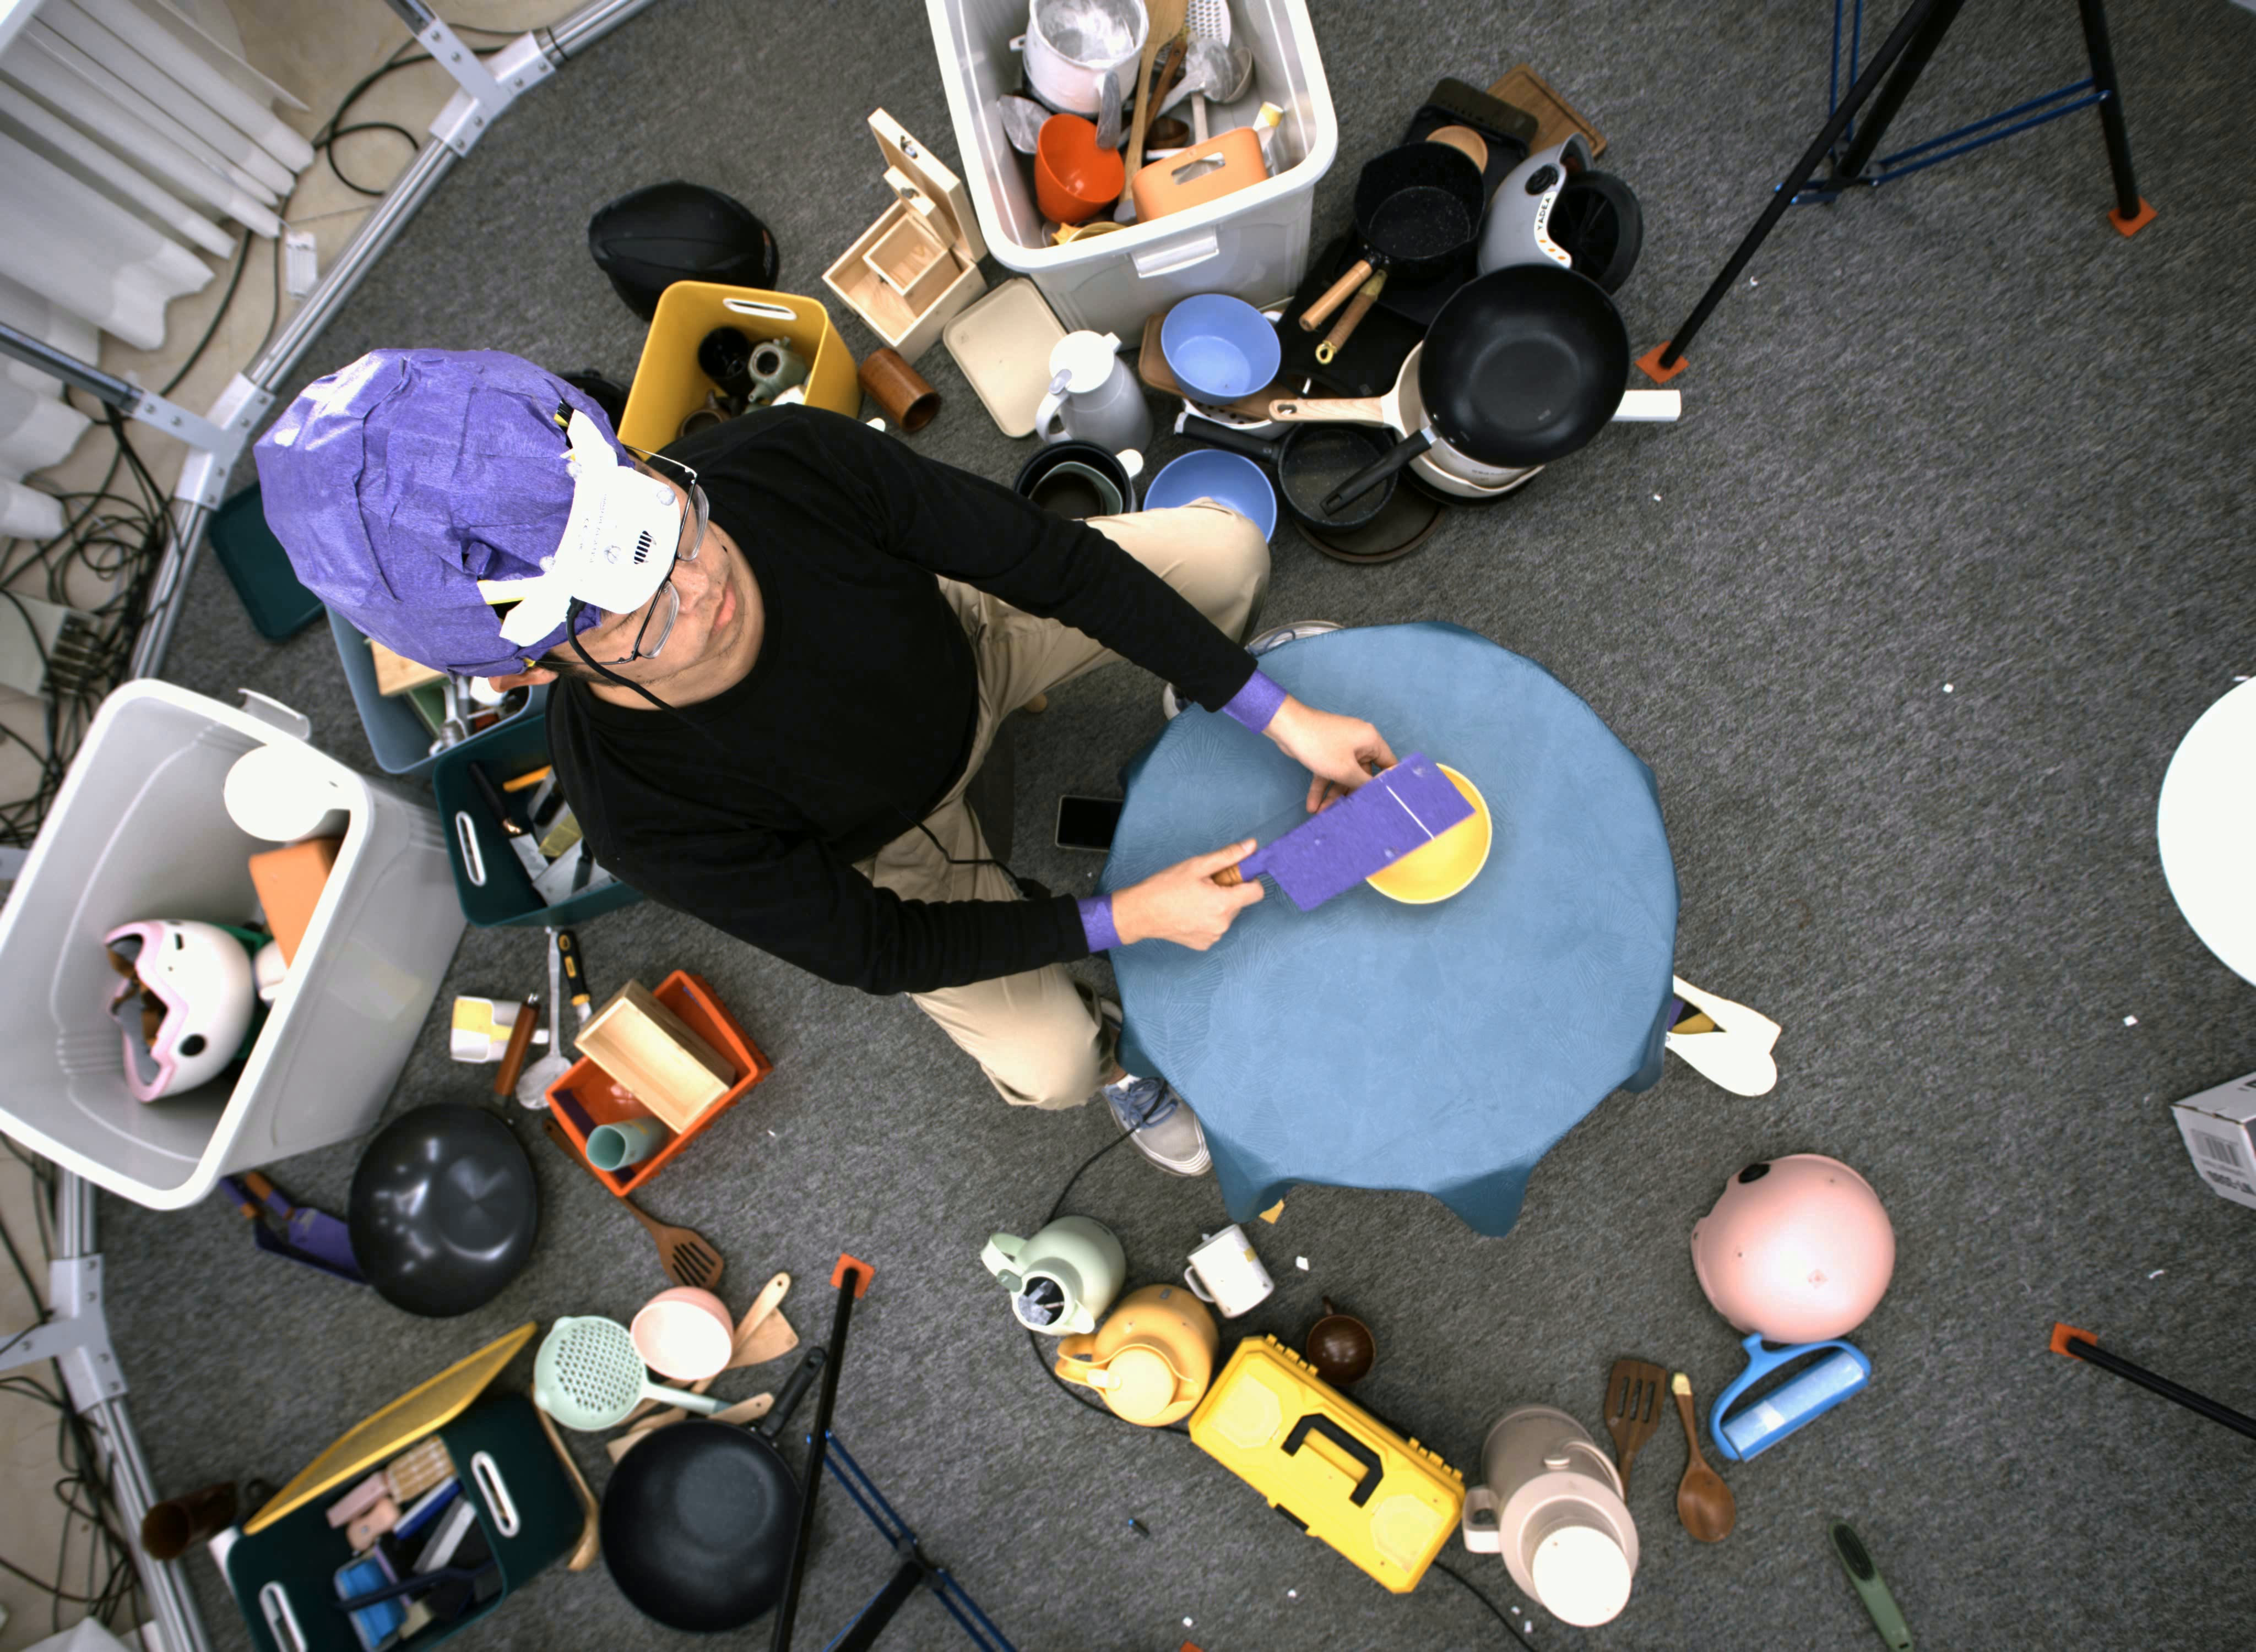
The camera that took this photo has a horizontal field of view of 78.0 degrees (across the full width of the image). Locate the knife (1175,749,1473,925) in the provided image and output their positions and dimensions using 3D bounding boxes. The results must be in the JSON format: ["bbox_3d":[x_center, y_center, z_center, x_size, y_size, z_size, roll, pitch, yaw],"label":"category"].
[{"bbox_3d":[0.194,0.037,1.383,0.321,0.031,0.105,-32,114,29],"label":"knife"}]

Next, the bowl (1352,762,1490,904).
[{"bbox_3d":[0.298,0.007,1.426,0.146,0.060,0.145,0,88,8],"label":"bowl"}]
